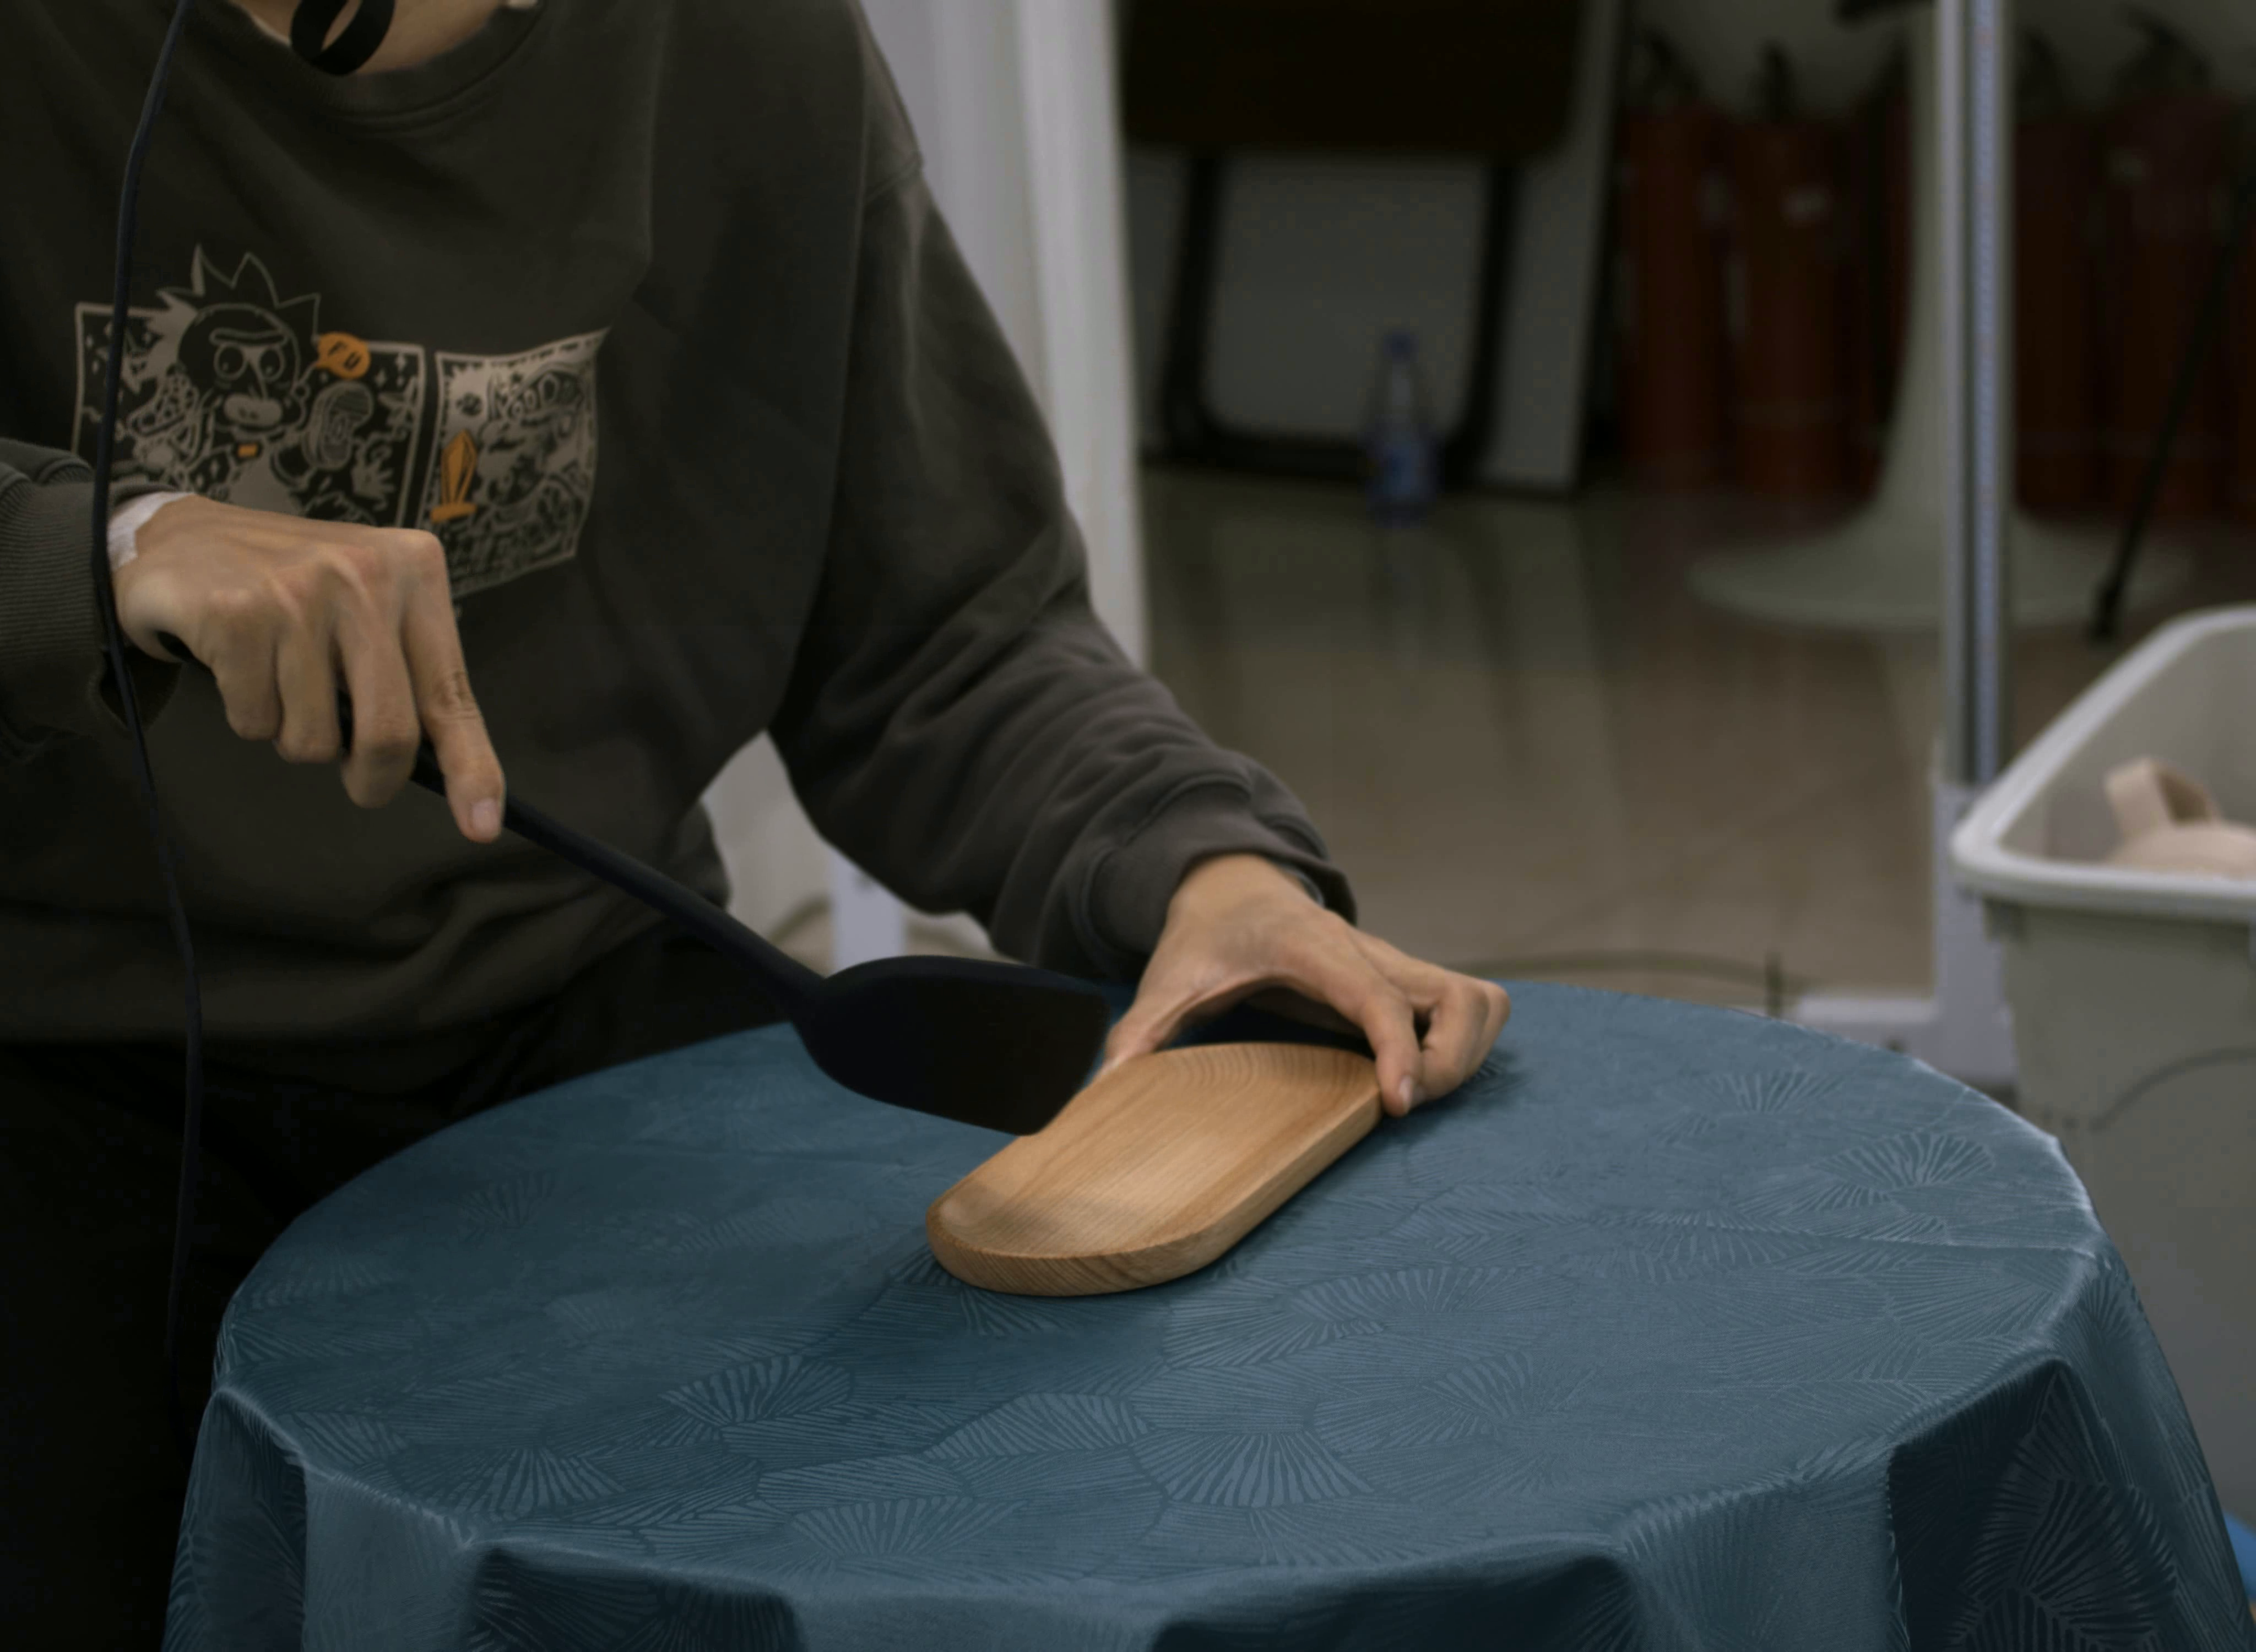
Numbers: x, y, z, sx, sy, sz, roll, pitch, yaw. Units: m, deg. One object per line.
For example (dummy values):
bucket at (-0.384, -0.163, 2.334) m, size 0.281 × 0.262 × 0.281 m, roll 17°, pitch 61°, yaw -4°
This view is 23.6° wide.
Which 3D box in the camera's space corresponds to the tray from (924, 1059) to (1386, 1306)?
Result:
tray at (0.012, 0.115, 1.768) m, size 0.102 × 0.020 × 0.228 m, roll 1°, pitch 15°, yaw 25°

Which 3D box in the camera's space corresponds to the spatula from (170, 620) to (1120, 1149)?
spatula at (-0.155, 0.011, 1.702) m, size 0.324 × 0.100 × 0.040 m, roll 31°, pitch 53°, yaw 4°
